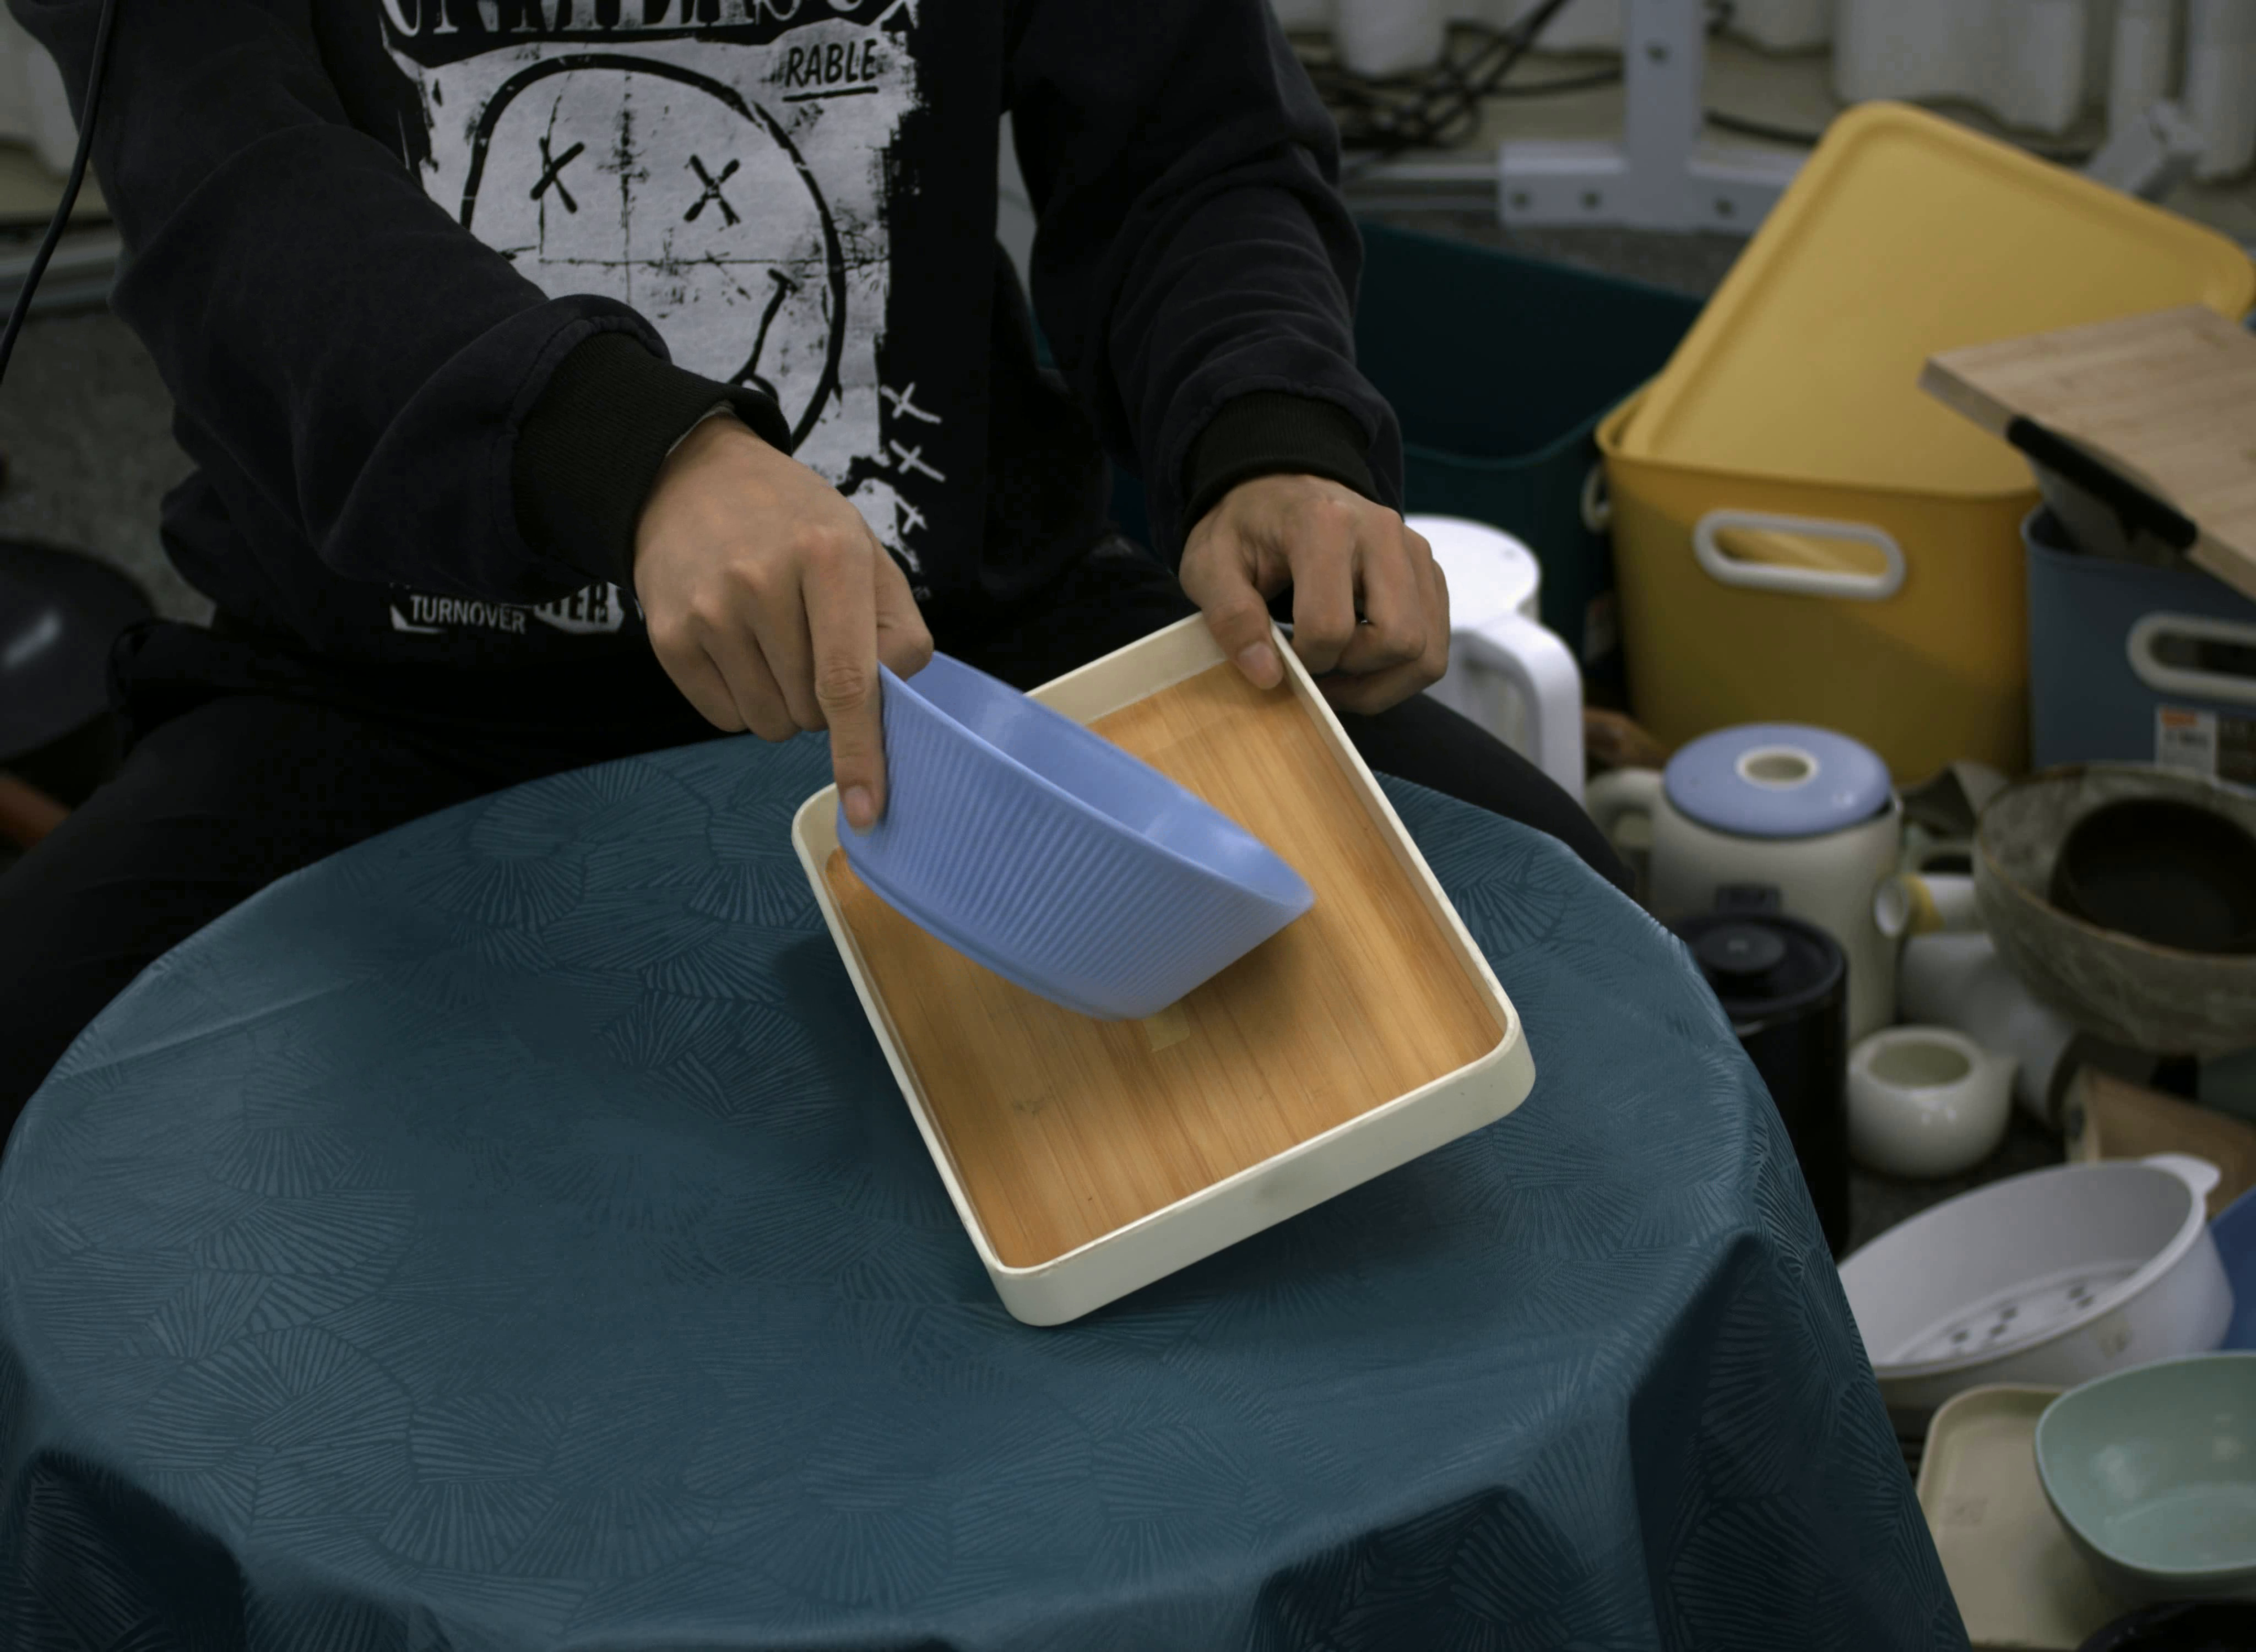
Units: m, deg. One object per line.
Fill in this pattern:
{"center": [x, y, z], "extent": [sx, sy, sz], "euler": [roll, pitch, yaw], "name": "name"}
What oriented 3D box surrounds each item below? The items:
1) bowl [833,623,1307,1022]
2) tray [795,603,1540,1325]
{"center": [-0.031, 0.007, 1.859], "extent": [0.175, 0.070, 0.177], "euler": [32, 6, -3], "name": "bowl"}
{"center": [0.007, 0.041, 1.906], "extent": [0.191, 0.027, 0.304], "euler": [-25, 35, -3], "name": "tray"}
